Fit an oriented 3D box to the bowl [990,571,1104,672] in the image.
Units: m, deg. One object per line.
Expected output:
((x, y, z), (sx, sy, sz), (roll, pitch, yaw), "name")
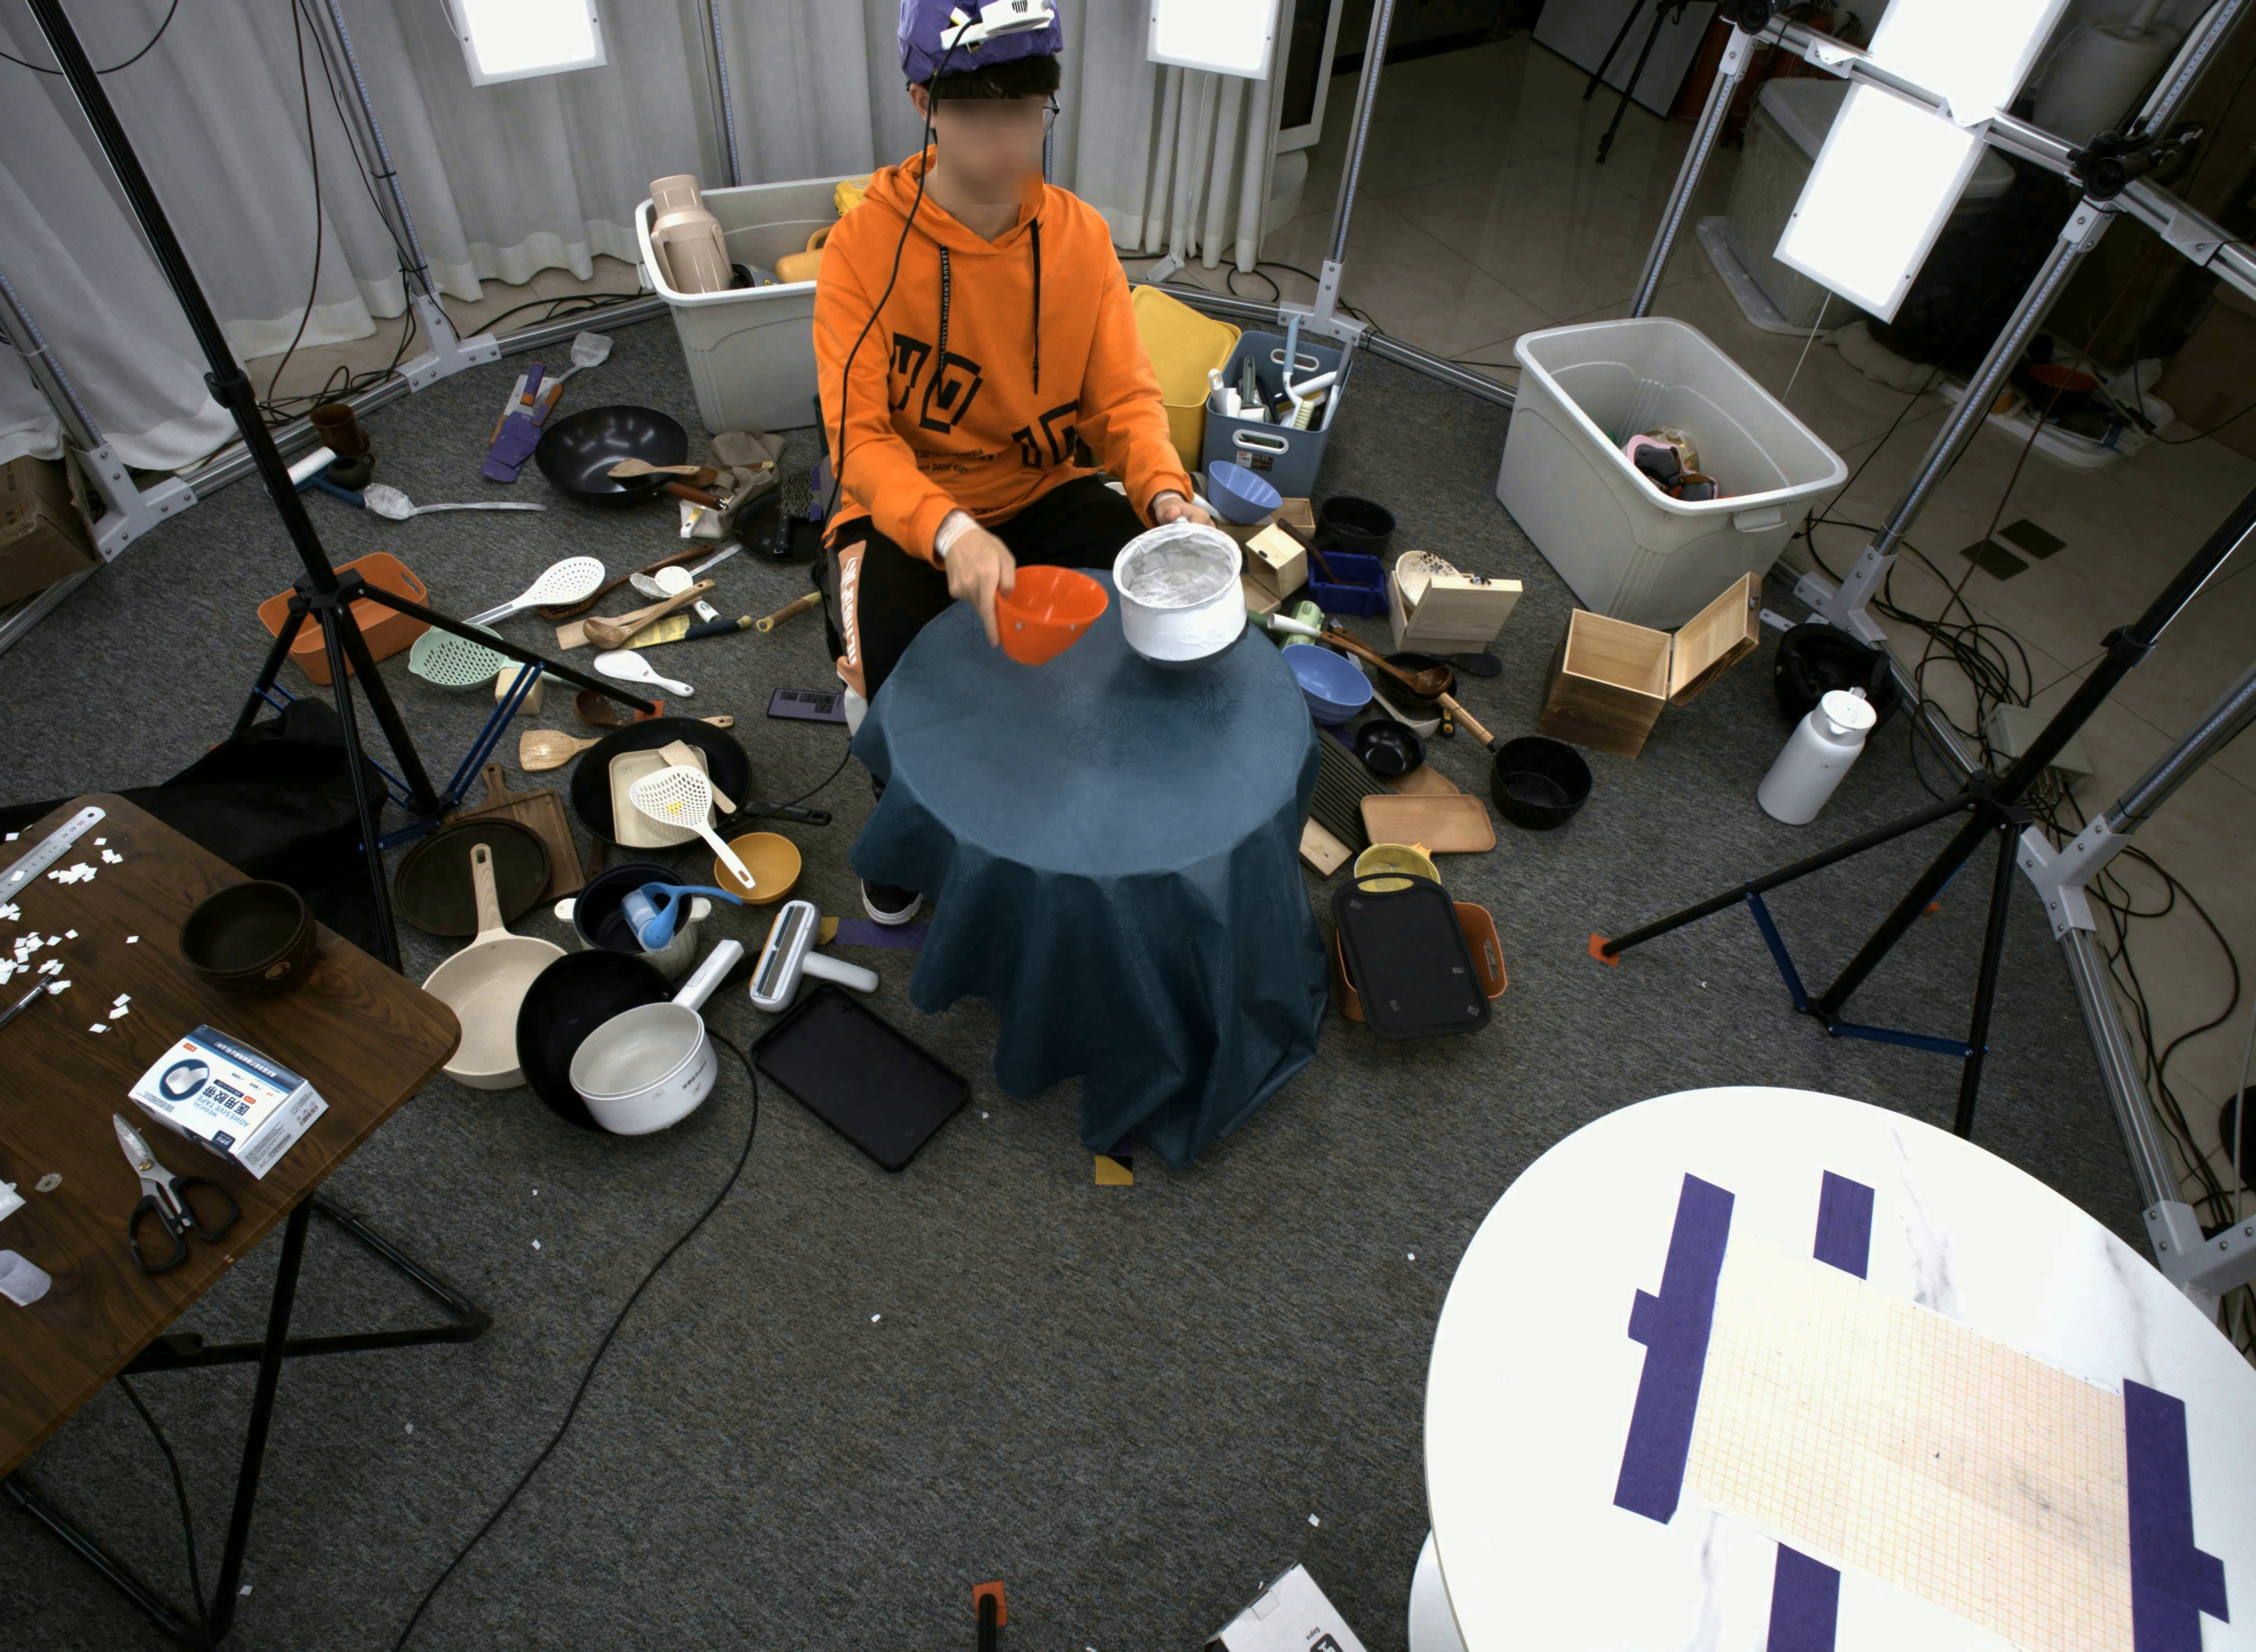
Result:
((-0.116, -0.266, 1.713), (0.147, 0.102, 0.151), (13, 35, -9), "bowl")

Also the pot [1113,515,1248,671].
((0.076, -0.337, 1.810), (0.179, 0.133, 0.239), (-4, 50, 6), "pot")
